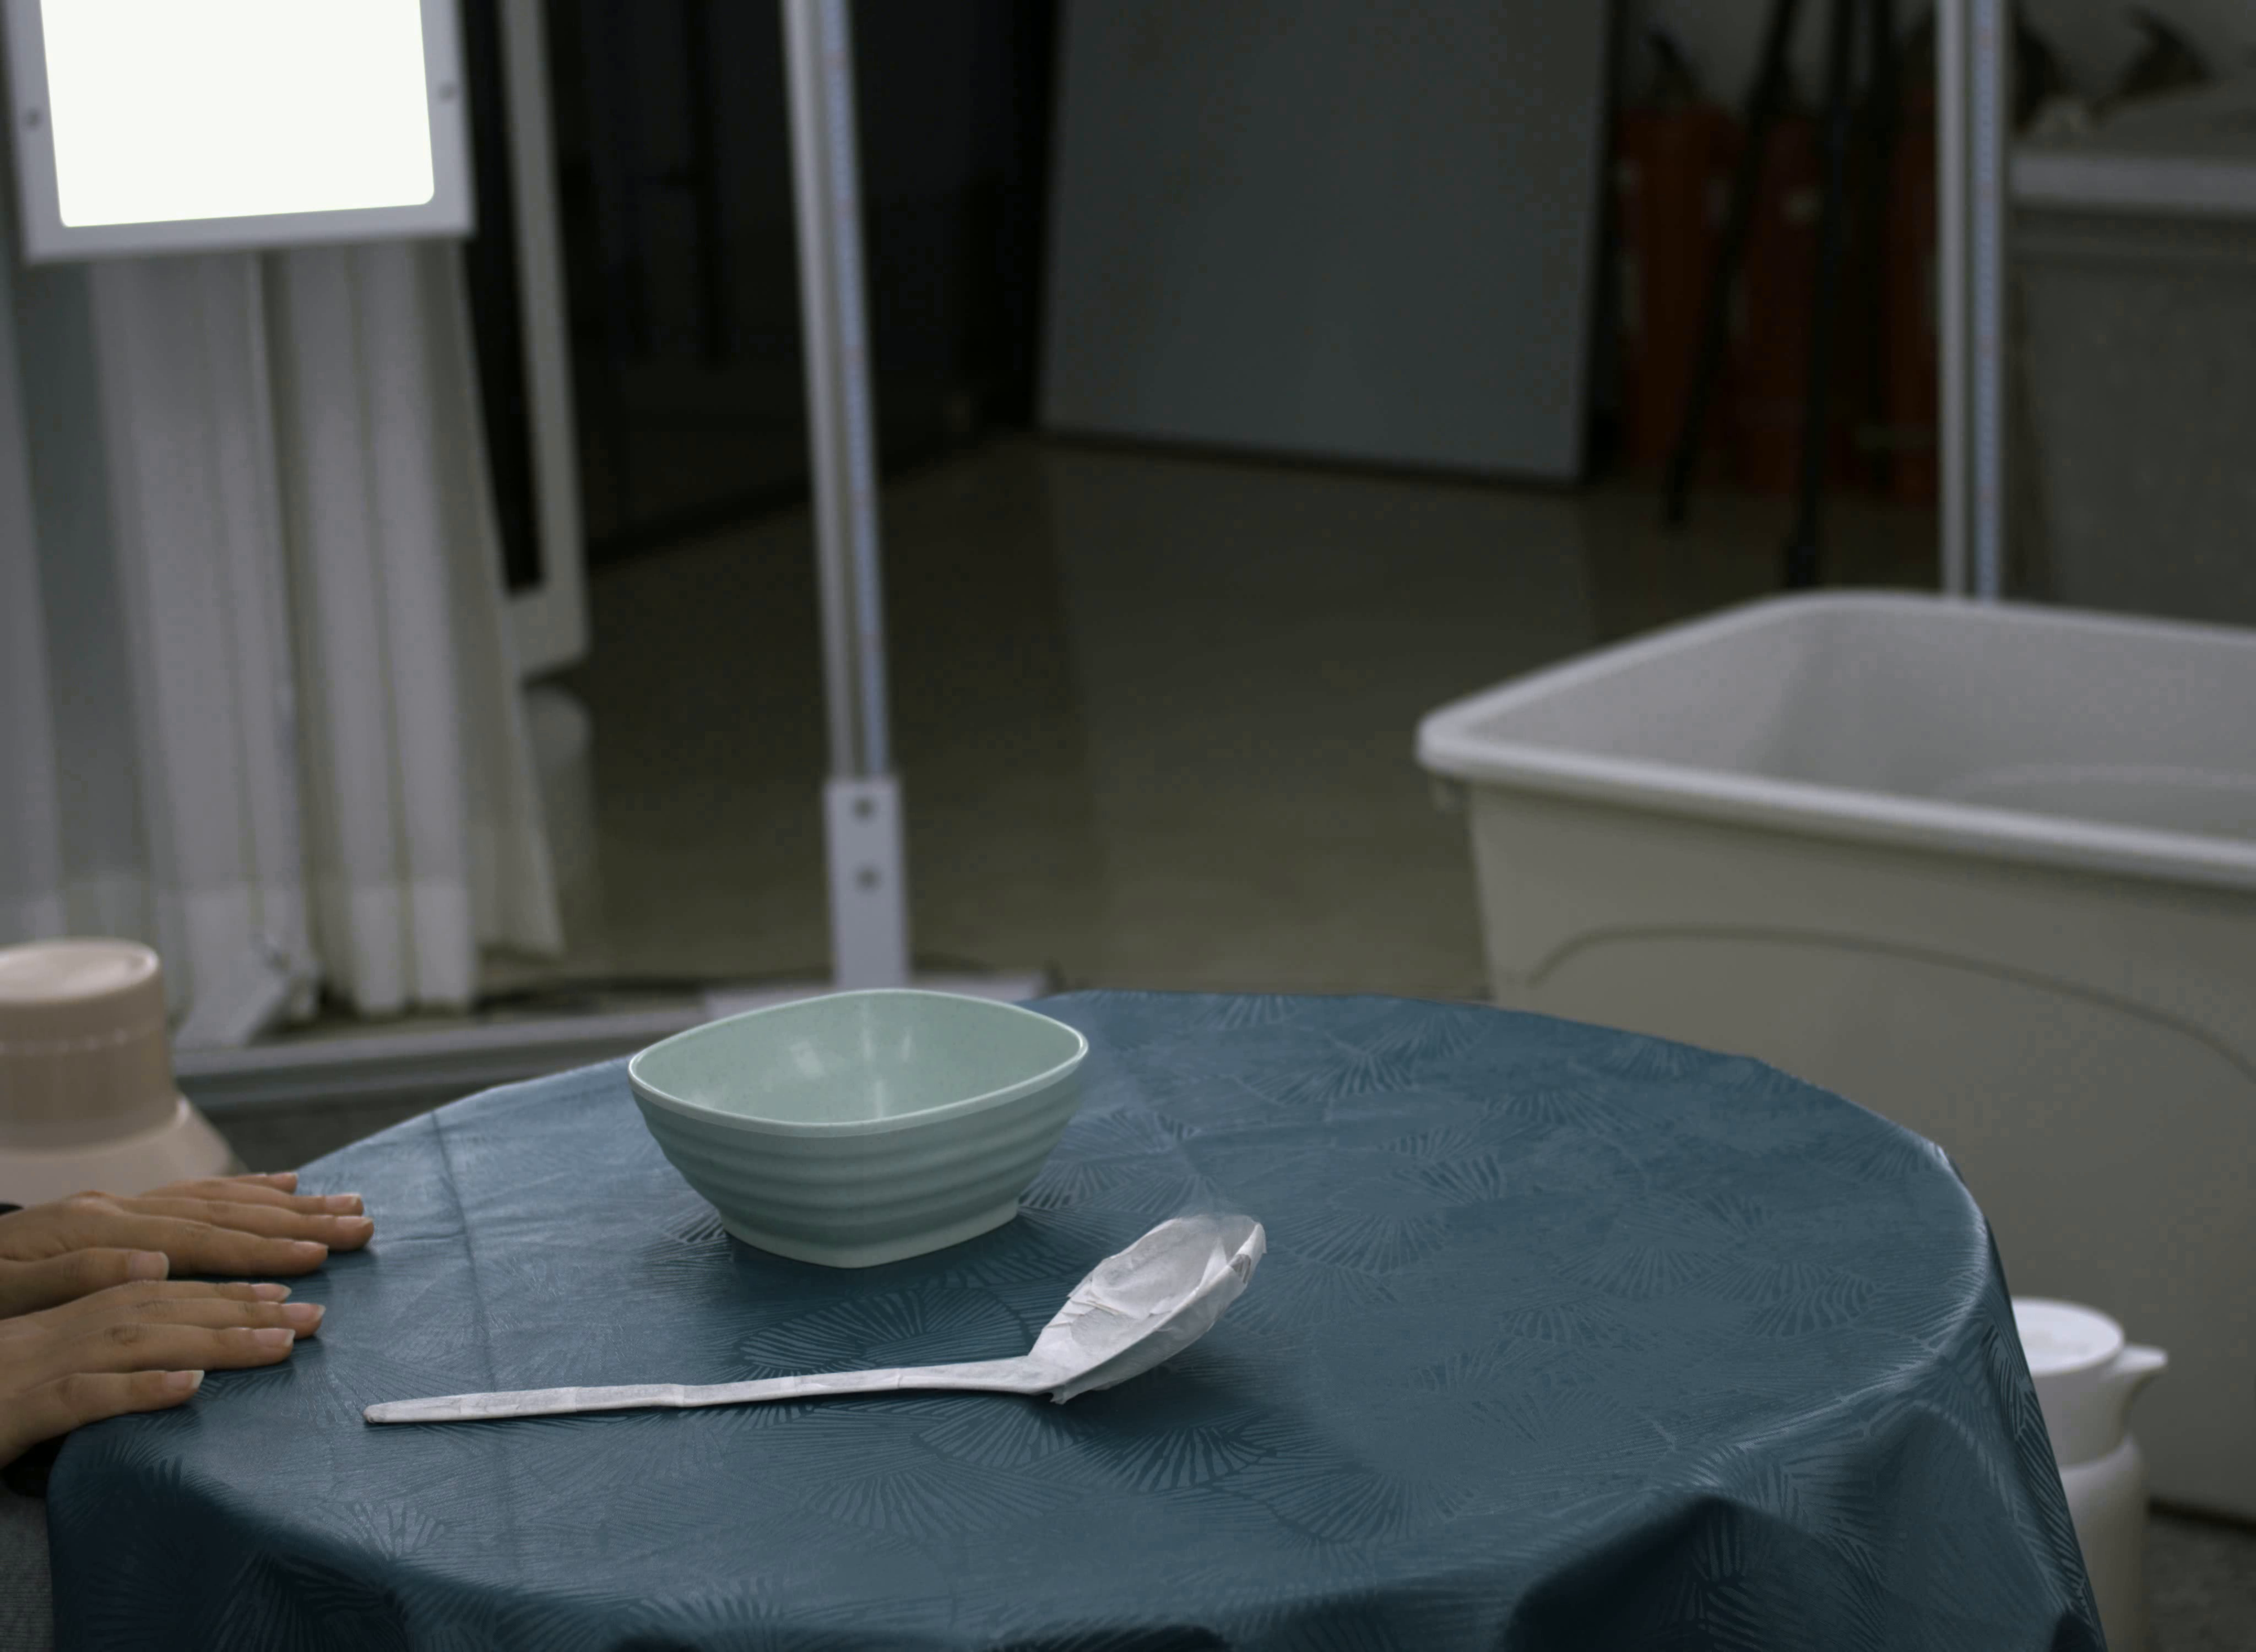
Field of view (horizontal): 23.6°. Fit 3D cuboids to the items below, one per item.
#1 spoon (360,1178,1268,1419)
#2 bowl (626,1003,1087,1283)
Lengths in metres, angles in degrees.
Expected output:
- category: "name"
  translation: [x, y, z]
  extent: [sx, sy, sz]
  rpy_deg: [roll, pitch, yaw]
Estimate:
- category: "spoon"
  translation: [-0.093, 0.140, 1.602]
  extent: [0.275, 0.060, 0.100]
  rpy_deg: [-3, 9, 6]
- category: "bowl"
  translation: [-0.086, 0.105, 1.752]
  extent: [0.149, 0.059, 0.151]
  rpy_deg: [-5, 13, 0]
